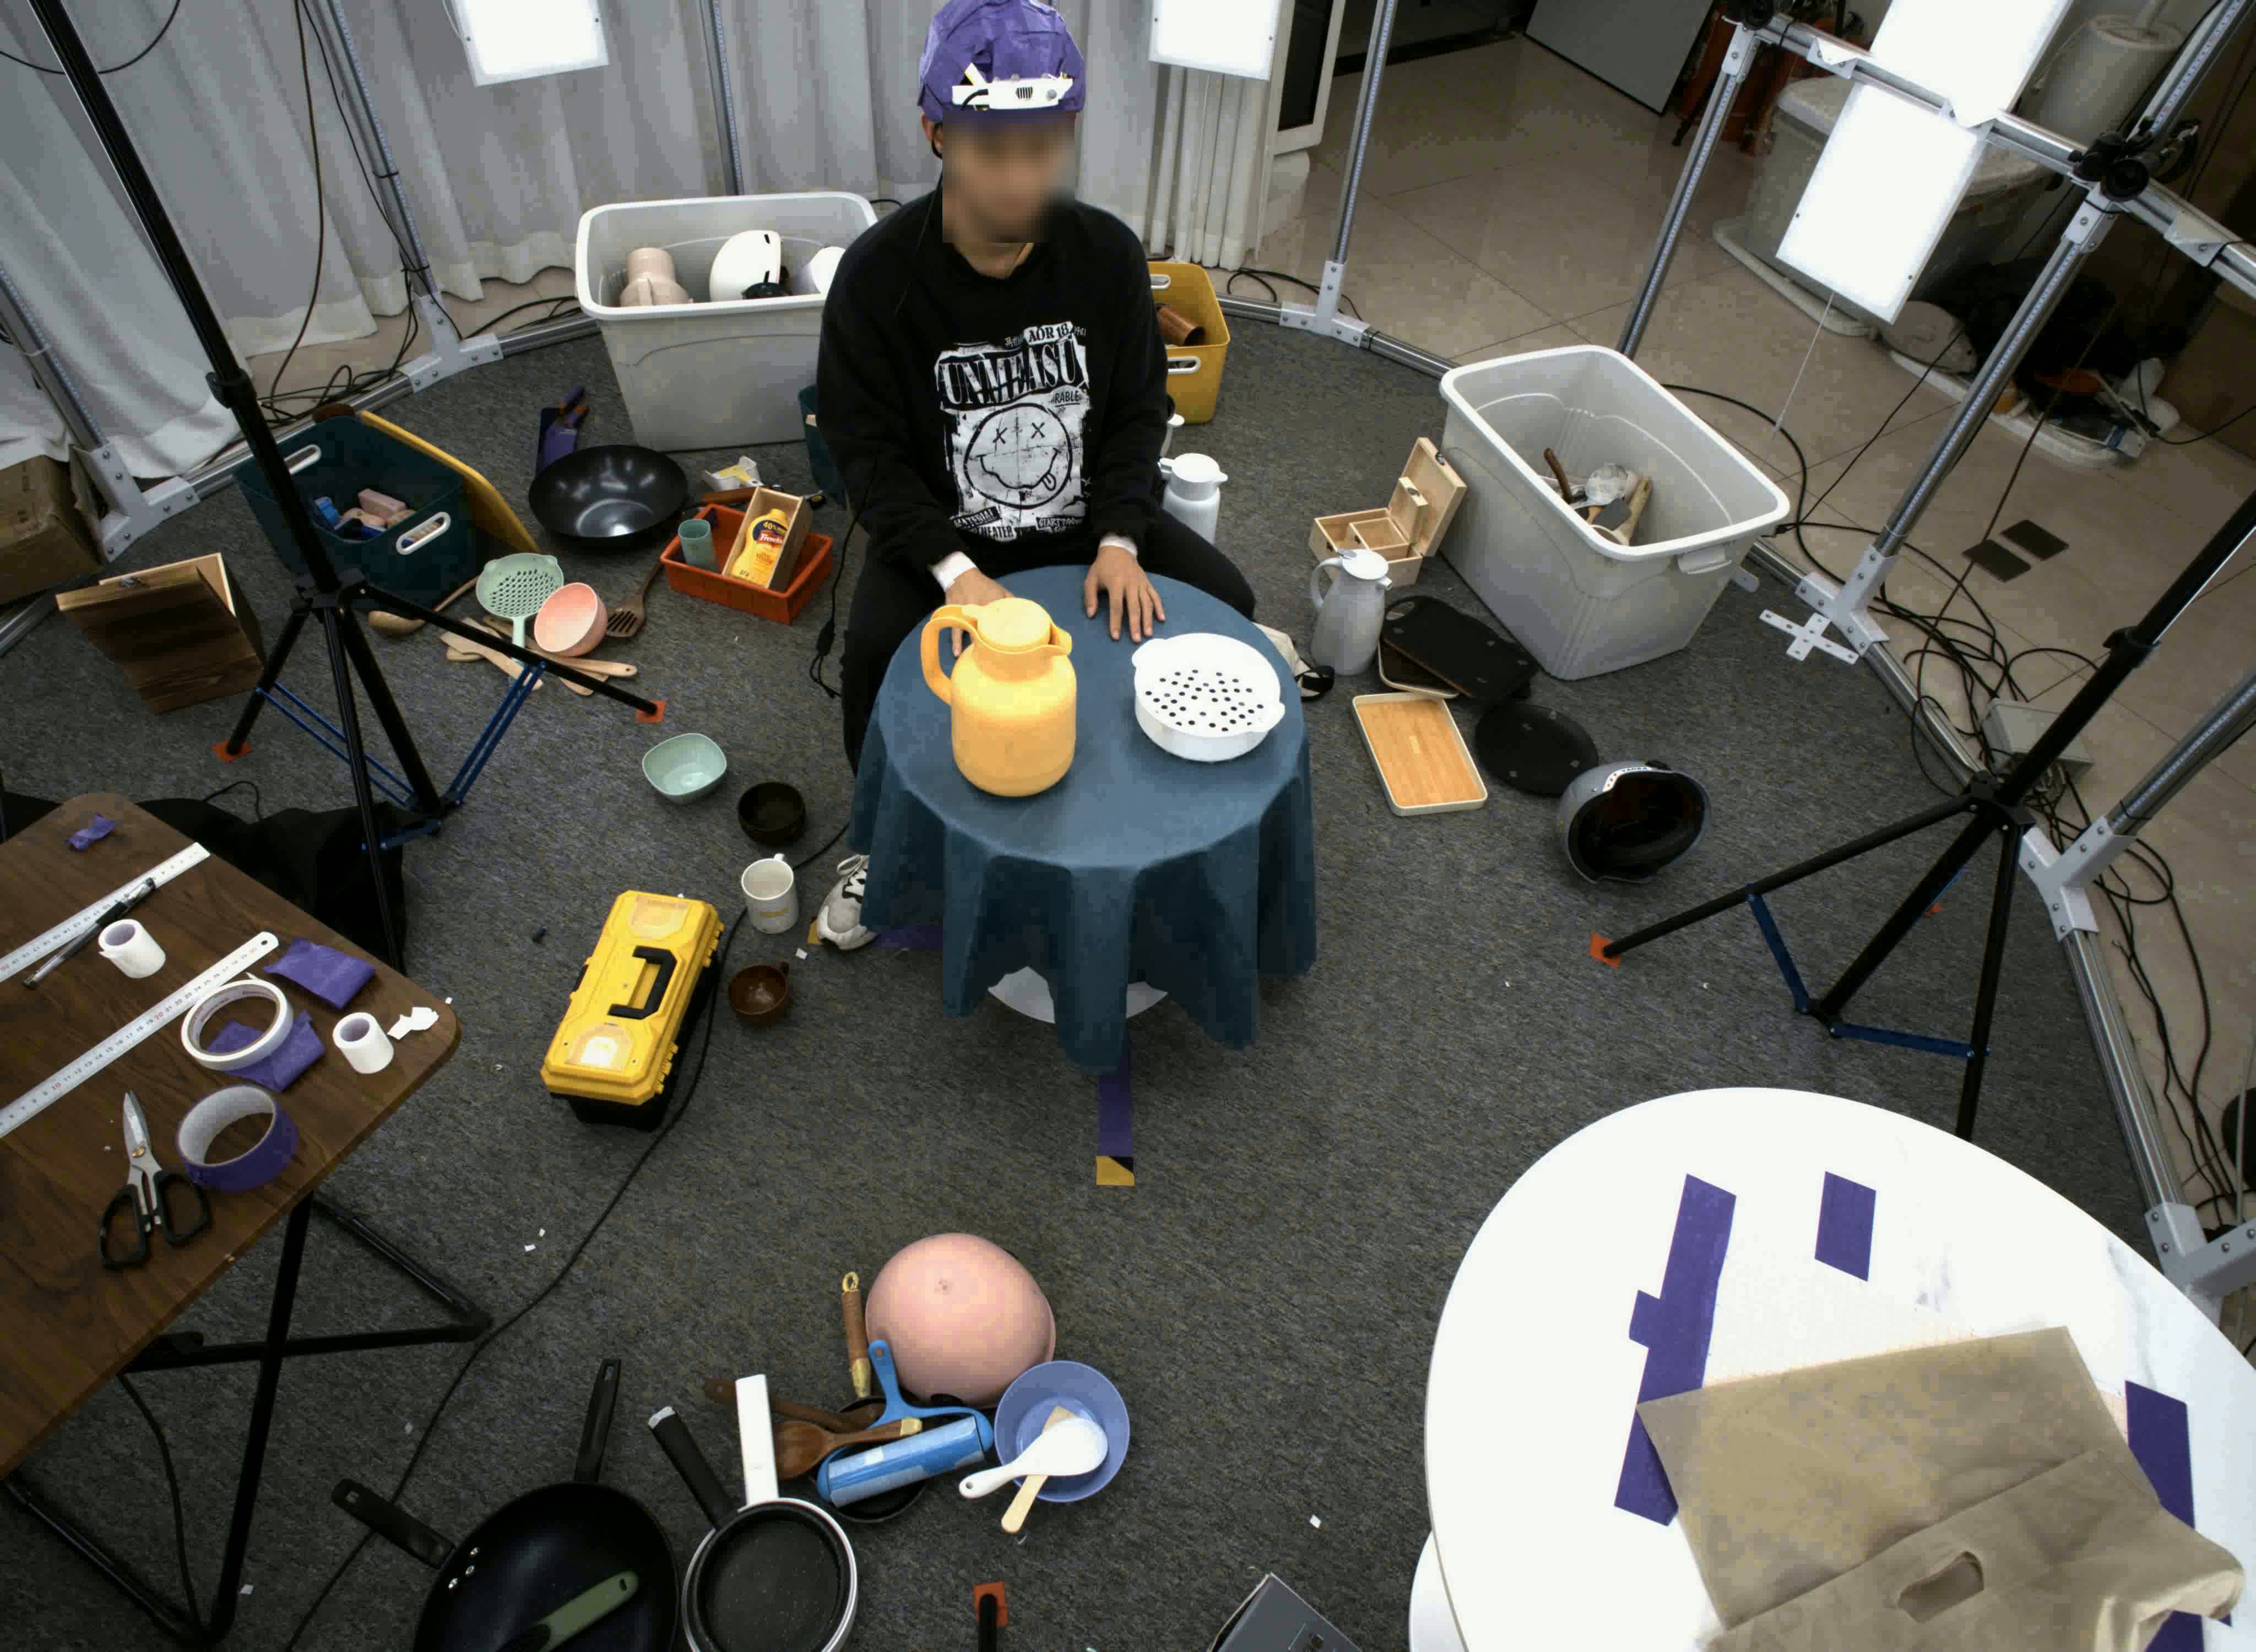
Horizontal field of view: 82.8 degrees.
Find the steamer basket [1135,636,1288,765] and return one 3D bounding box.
[{"bbox_3d":[0.112,-0.174,1.787,0.233,0.067,0.204,31,55,21],"label":"steamer basket"}]

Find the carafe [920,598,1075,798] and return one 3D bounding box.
[{"bbox_3d":[-0.166,-0.175,1.642,0.203,0.254,0.166,19,48,10],"label":"carafe"}]
